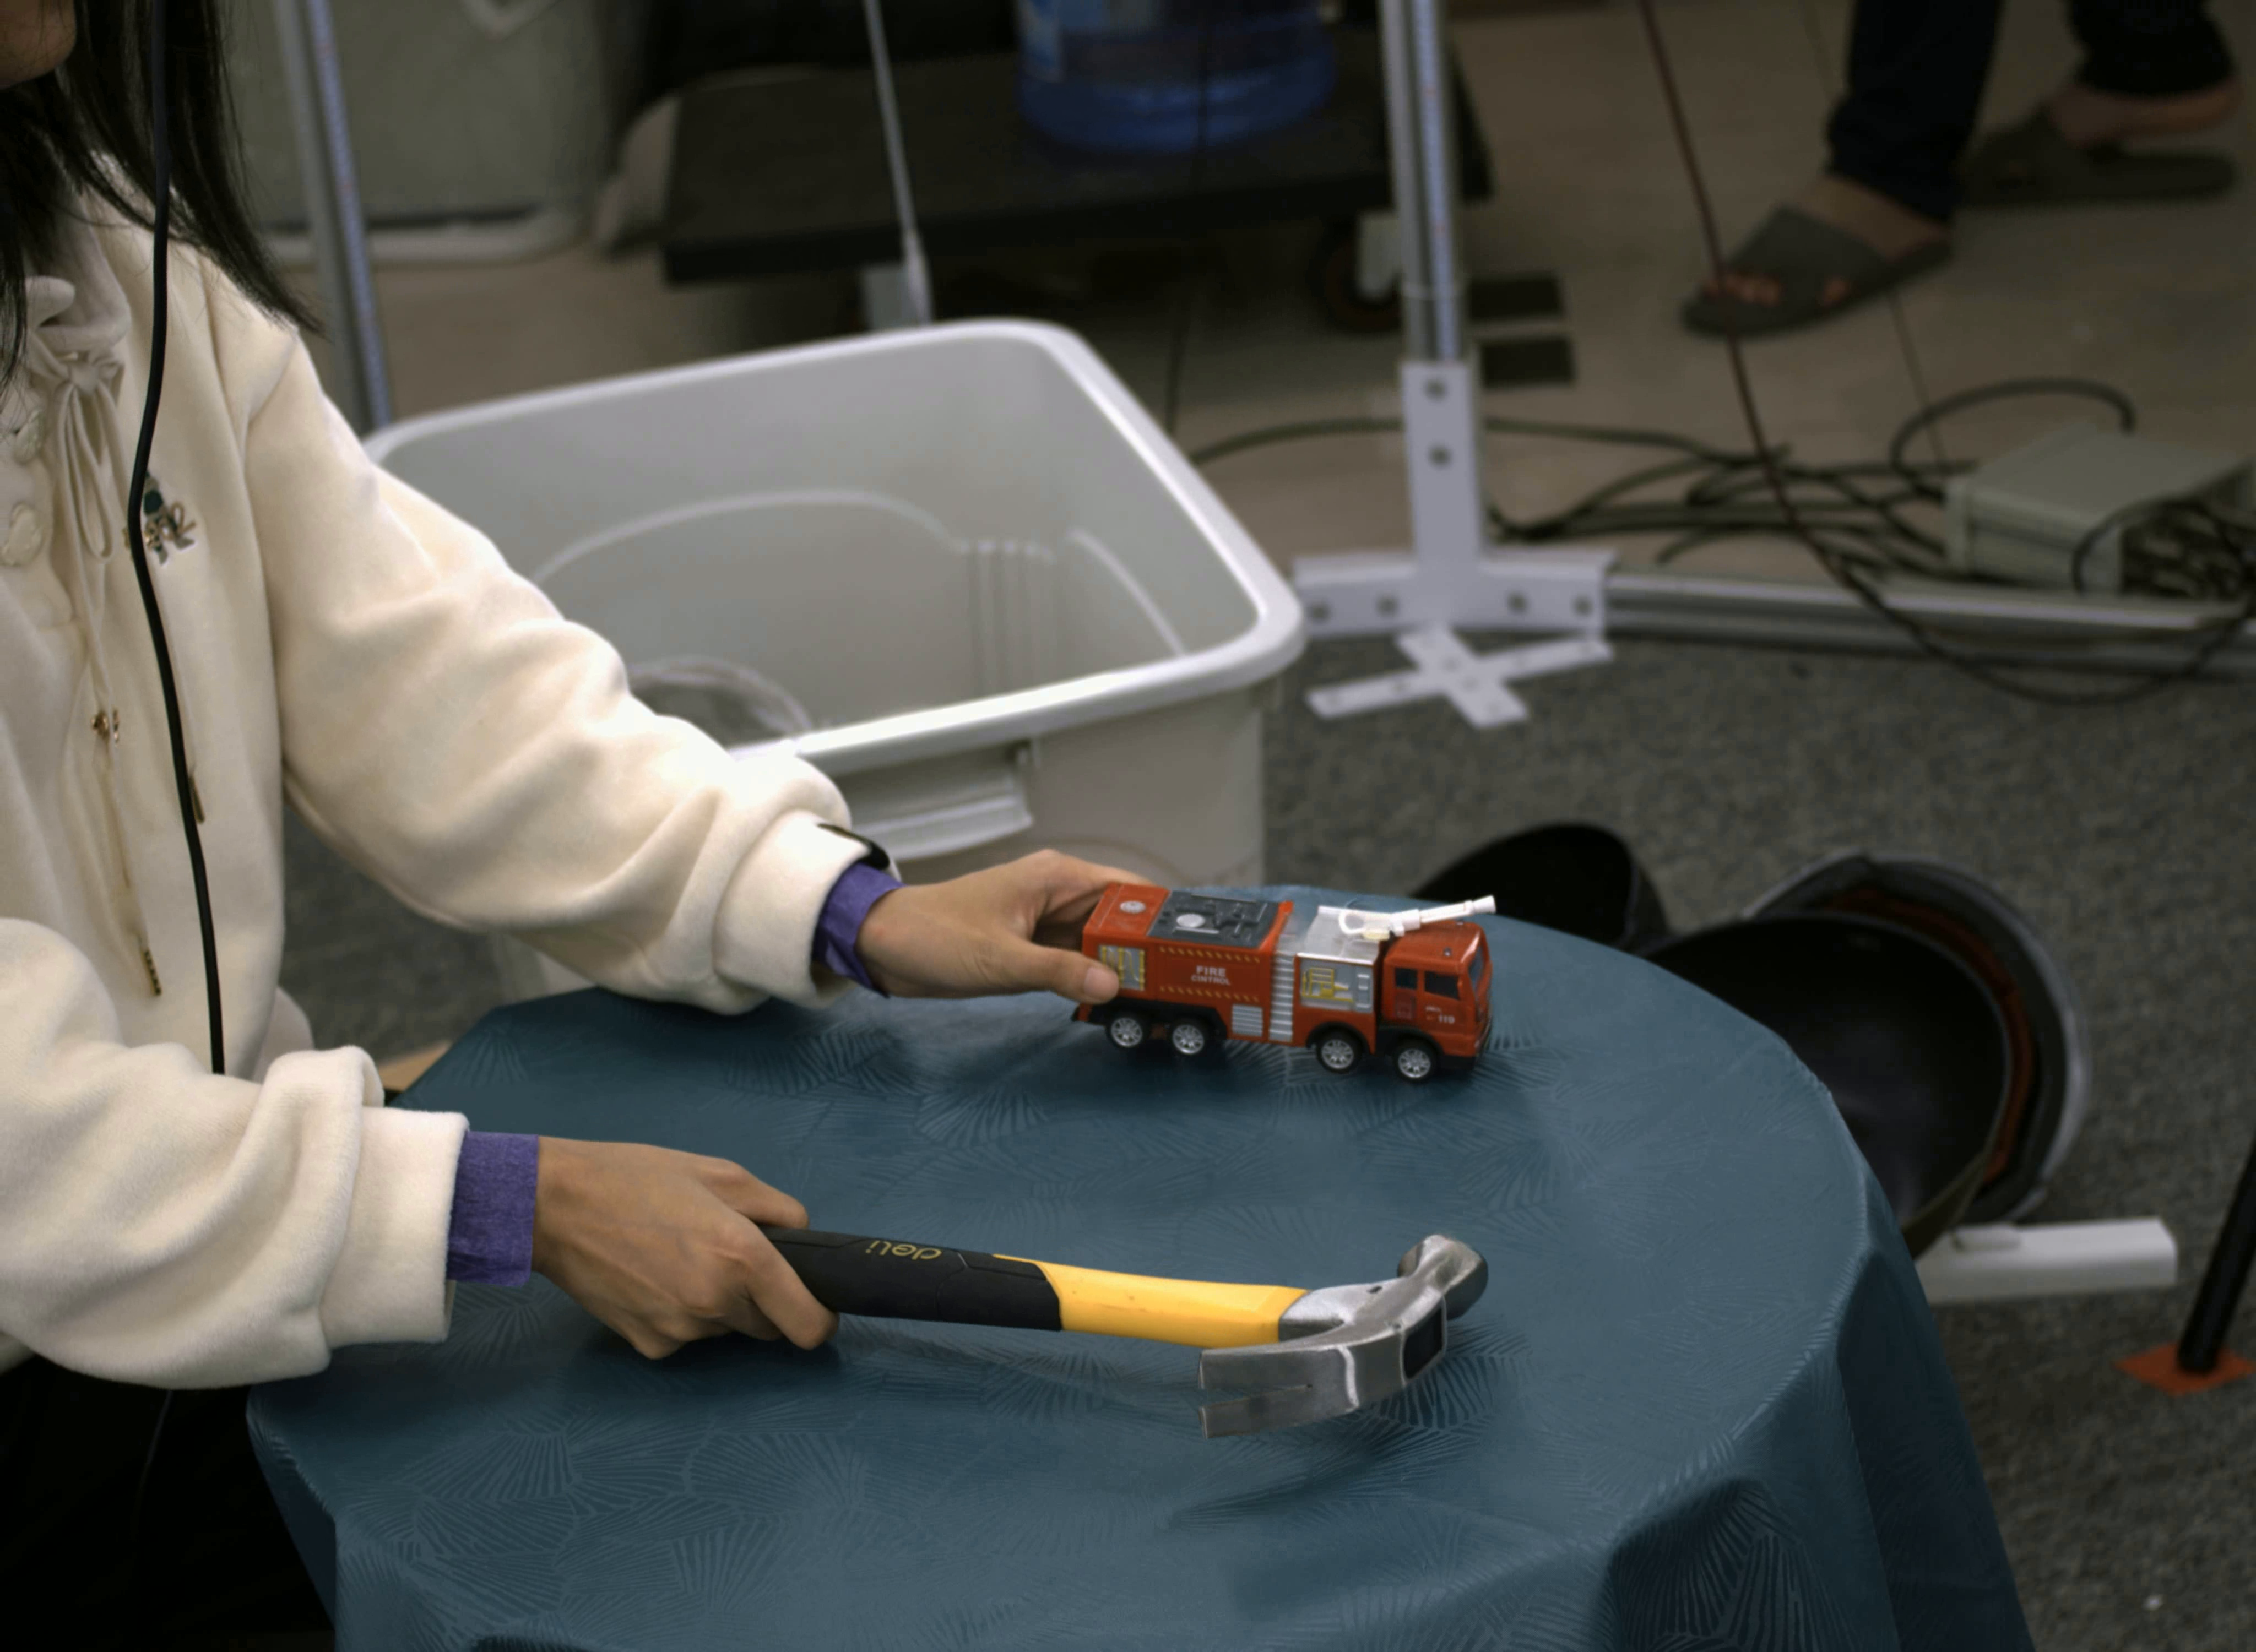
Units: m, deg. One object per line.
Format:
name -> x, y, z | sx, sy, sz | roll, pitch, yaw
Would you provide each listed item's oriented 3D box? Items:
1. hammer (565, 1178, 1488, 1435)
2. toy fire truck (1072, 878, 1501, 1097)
hammer -> -0.050, 0.161, 2.033 | 0.337, 0.033, 0.130 | 6, 23, 24
toy fire truck -> 0.063, 0.060, 2.219 | 0.167, 0.071, 0.053 | 5, 26, 13
